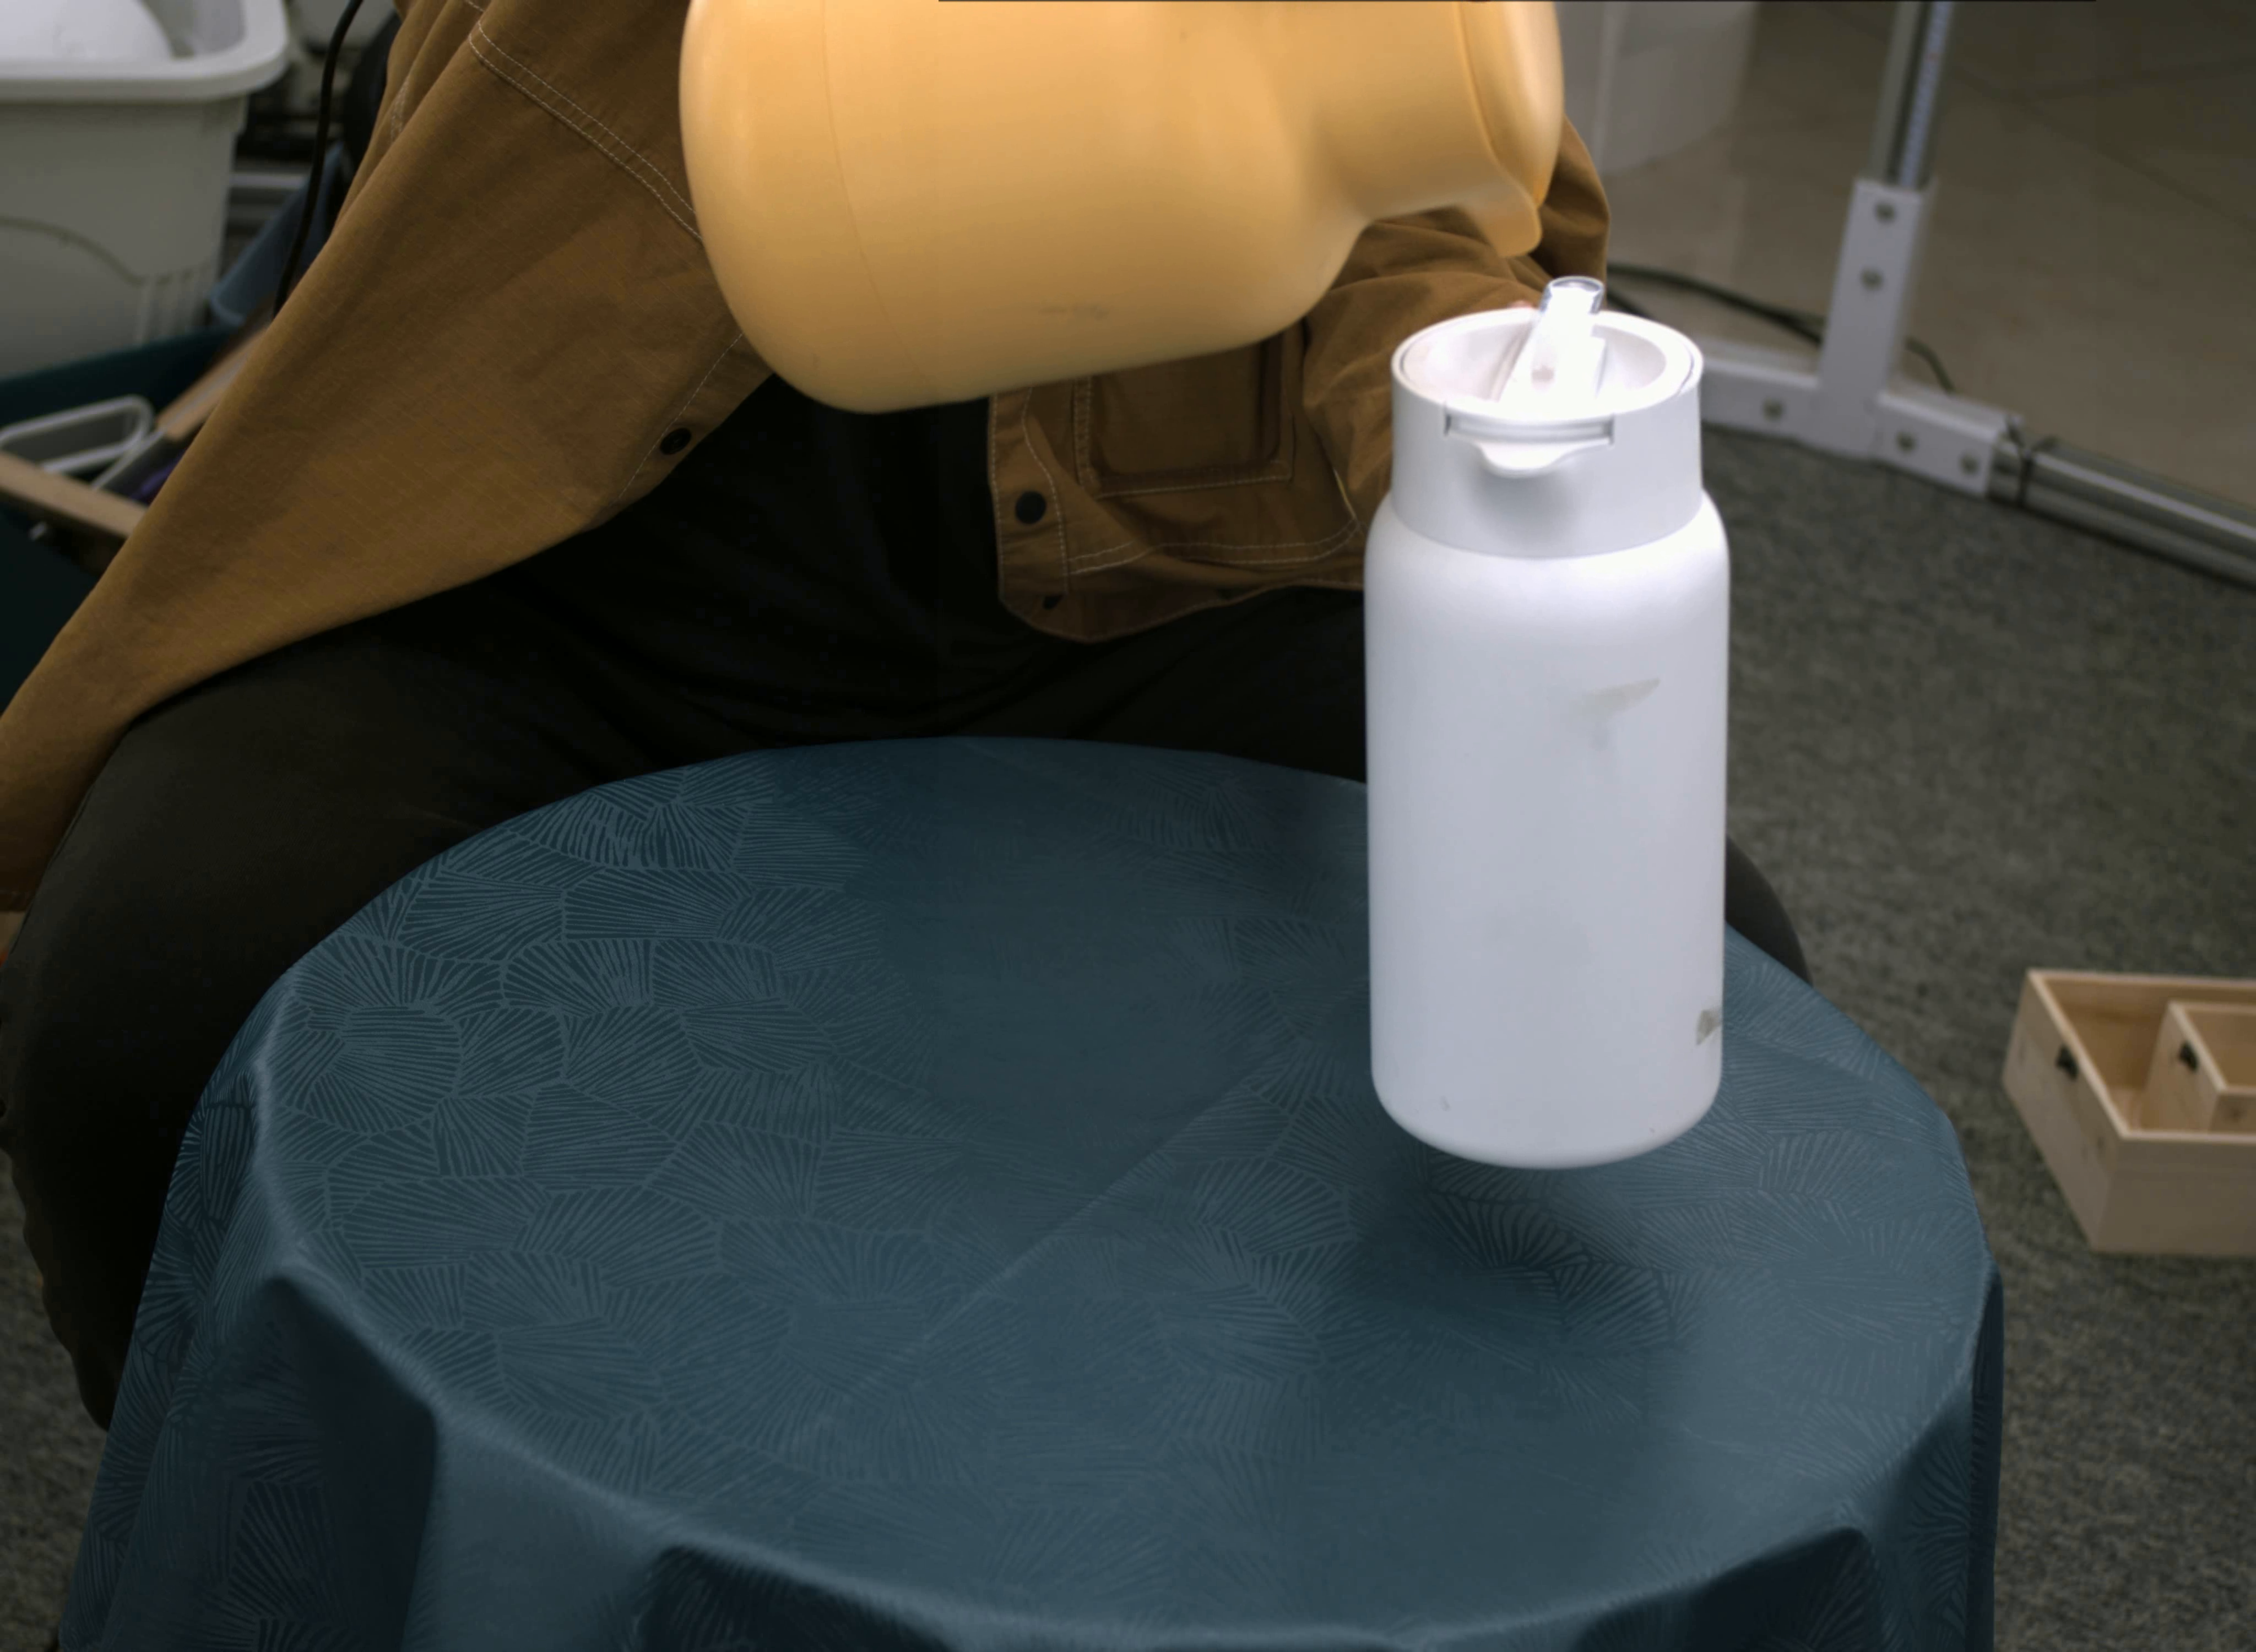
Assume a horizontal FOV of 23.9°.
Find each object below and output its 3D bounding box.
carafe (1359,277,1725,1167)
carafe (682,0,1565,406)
[{"bbox_3d":[0.136,-0.037,1.742,0.124,0.268,0.173,1,25,12],"label":"carafe"},{"bbox_3d":[-0.002,-0.241,1.624,0.260,0.201,0.164,-9,33,13],"label":"carafe"}]
